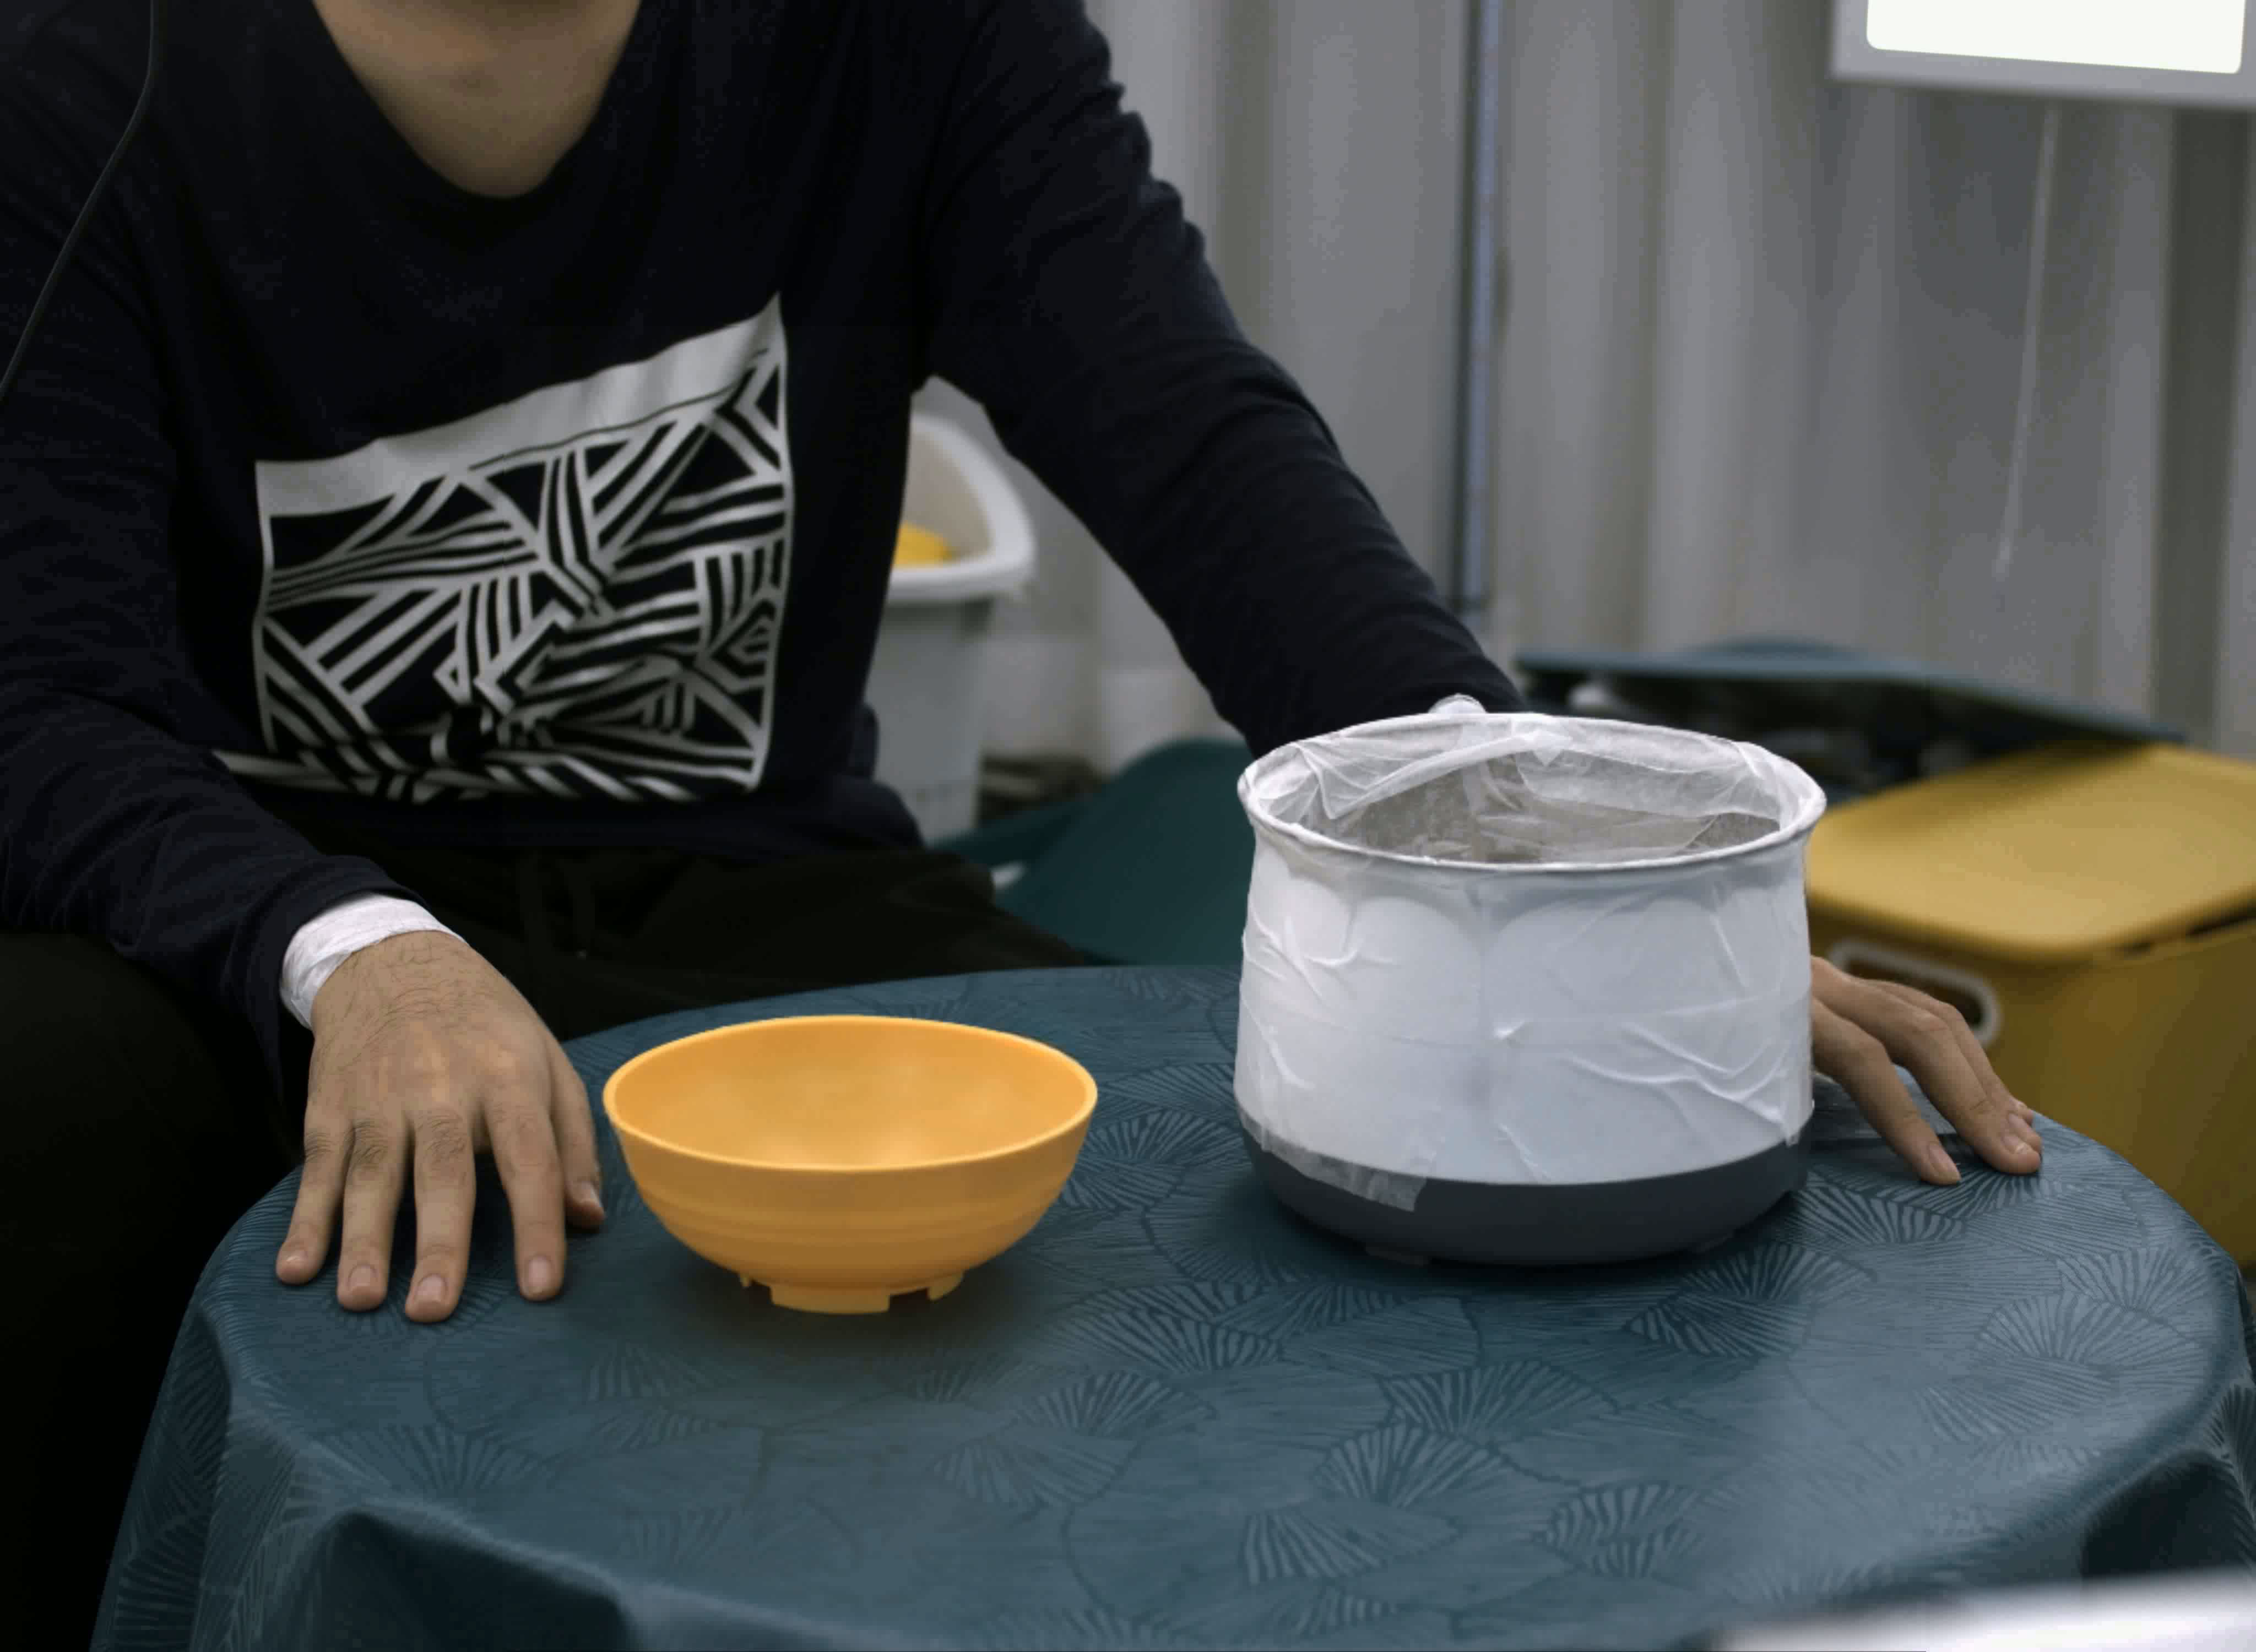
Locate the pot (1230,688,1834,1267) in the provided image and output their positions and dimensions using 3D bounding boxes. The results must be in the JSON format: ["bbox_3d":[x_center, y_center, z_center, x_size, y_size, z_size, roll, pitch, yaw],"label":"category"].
[{"bbox_3d":[0.115,0.041,1.626,0.179,0.137,0.231,0,16,-11],"label":"pot"}]

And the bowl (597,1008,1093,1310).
[{"bbox_3d":[-0.083,0.102,1.540,0.145,0.060,0.144,2,16,0],"label":"bowl"}]
